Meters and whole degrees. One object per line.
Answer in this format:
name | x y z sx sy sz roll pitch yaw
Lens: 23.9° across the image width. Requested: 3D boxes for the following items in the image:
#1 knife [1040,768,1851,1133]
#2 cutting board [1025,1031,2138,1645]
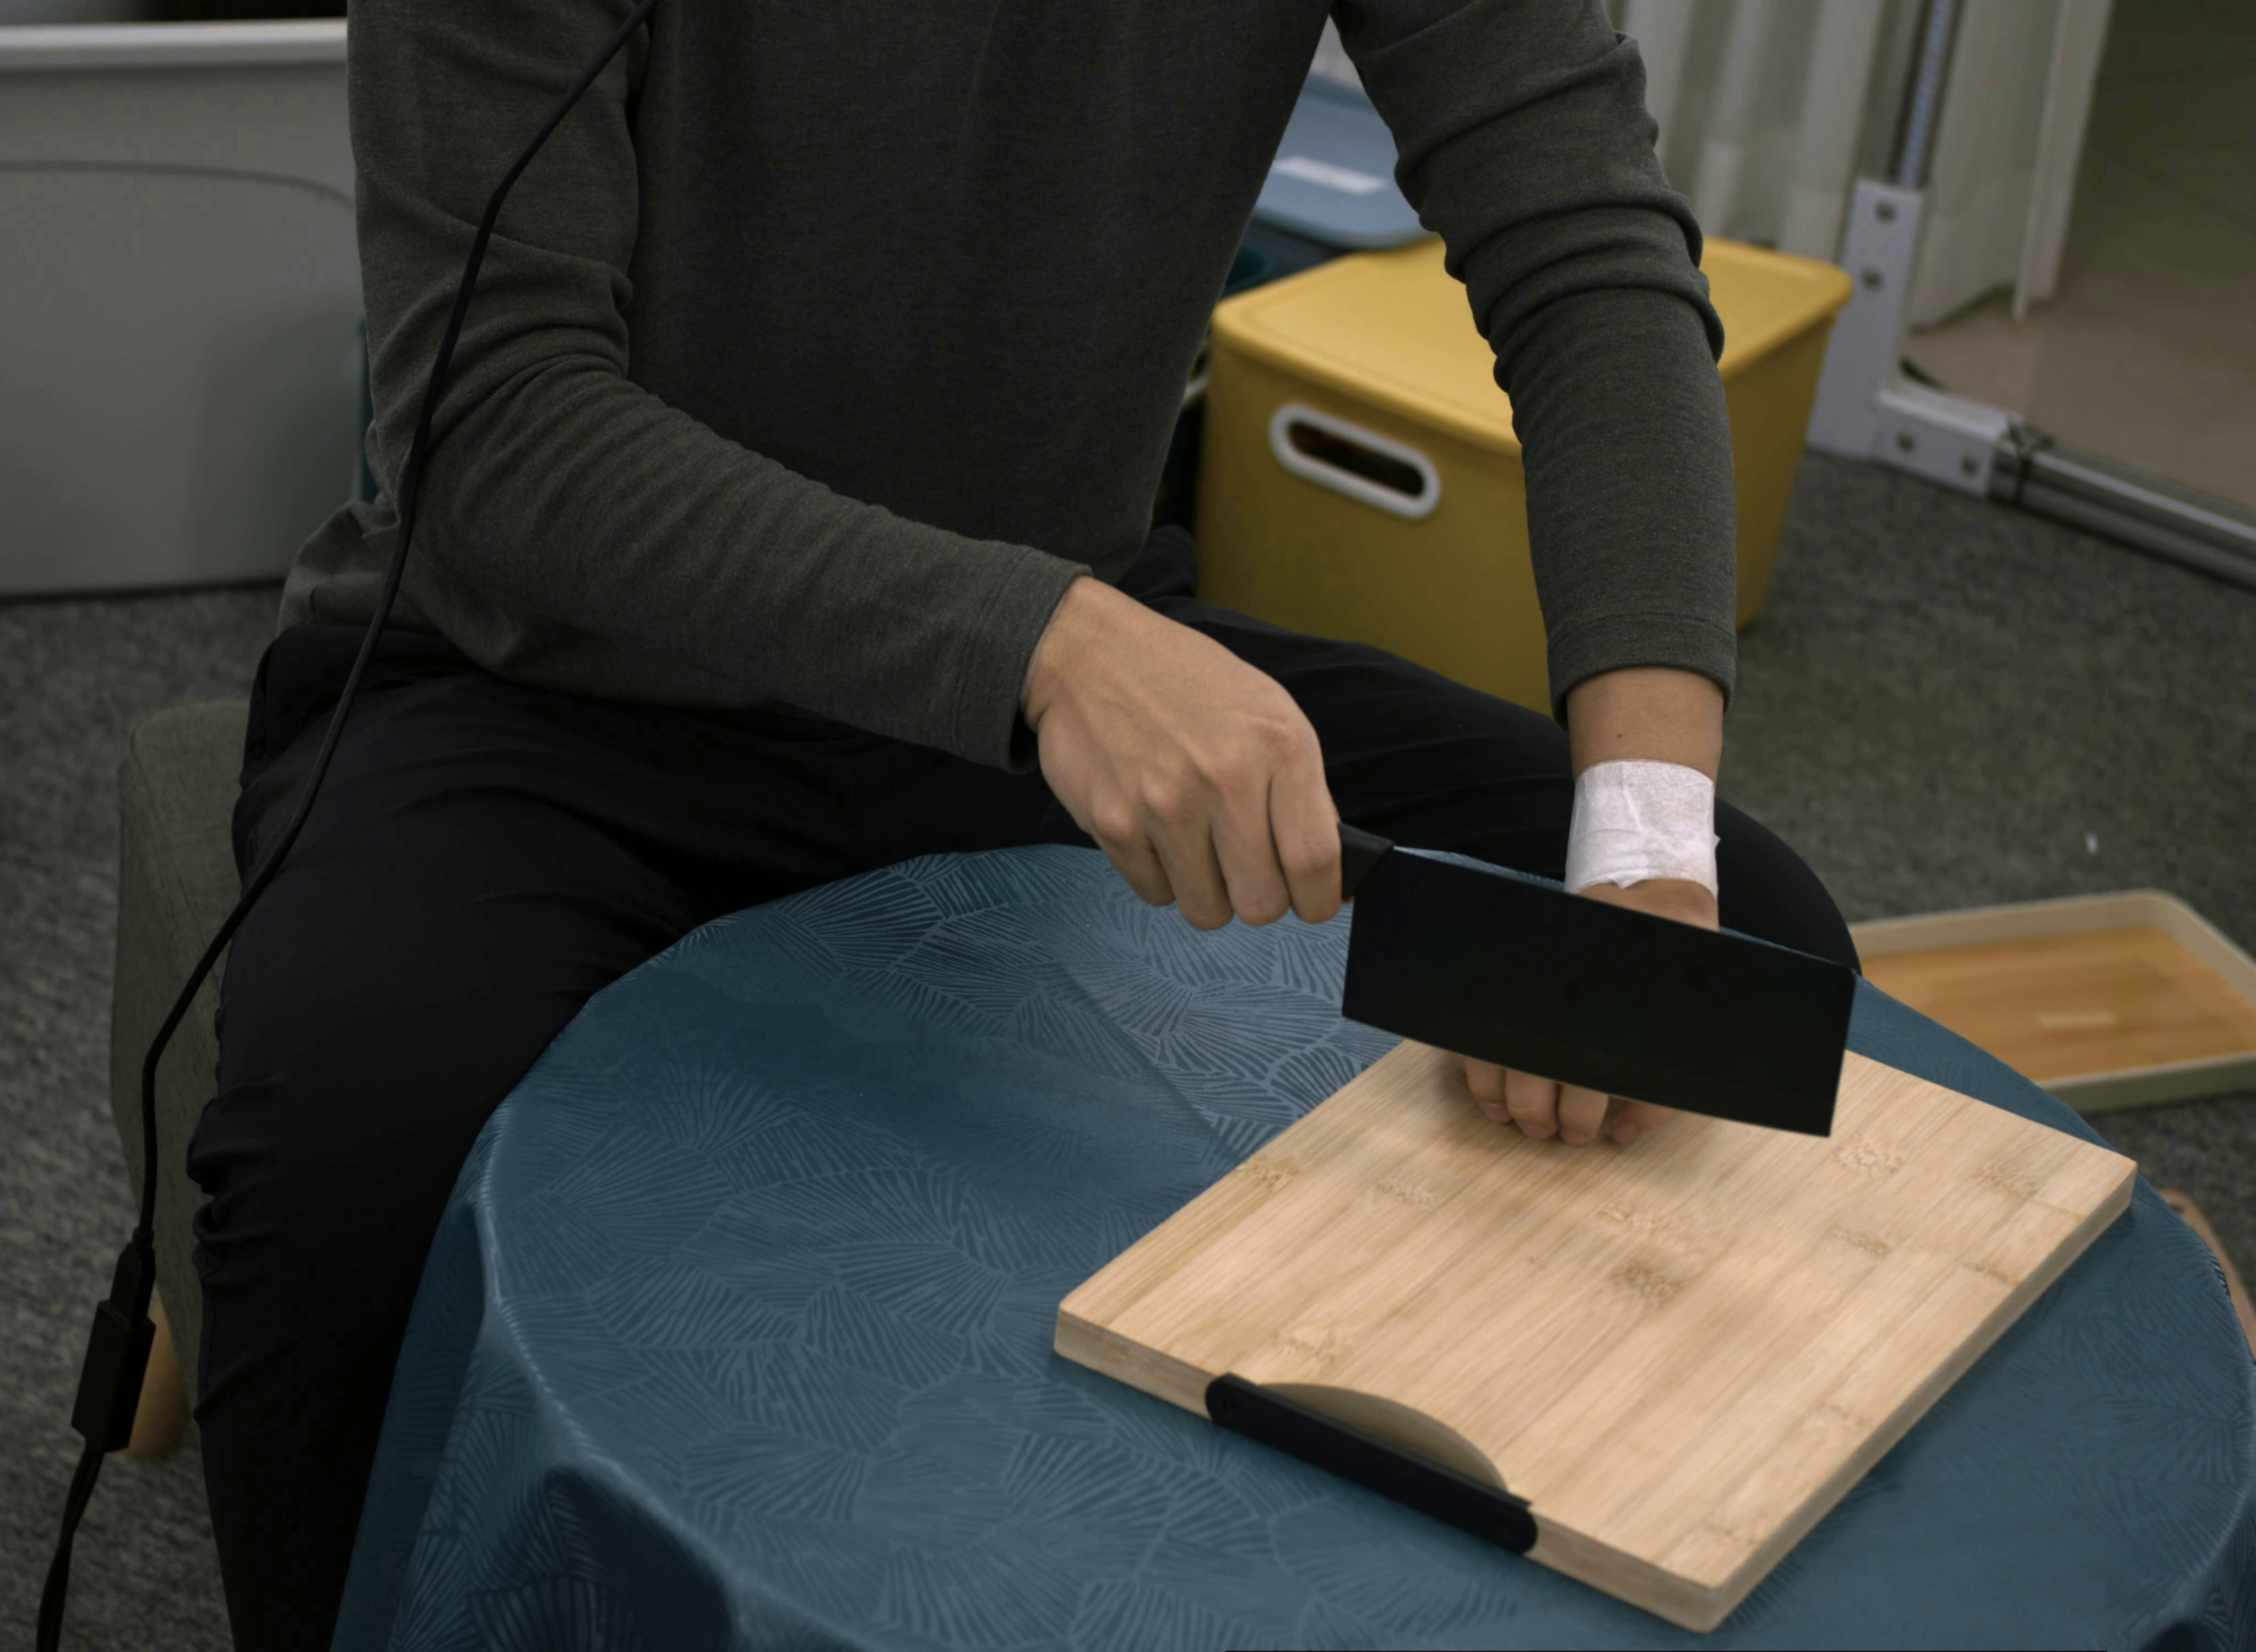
knife | 0.103 0.038 1.804 0.303 0.081 0.021 19 21 24
cutting board | 0.161 0.145 1.782 0.252 0.023 0.348 20 29 26
